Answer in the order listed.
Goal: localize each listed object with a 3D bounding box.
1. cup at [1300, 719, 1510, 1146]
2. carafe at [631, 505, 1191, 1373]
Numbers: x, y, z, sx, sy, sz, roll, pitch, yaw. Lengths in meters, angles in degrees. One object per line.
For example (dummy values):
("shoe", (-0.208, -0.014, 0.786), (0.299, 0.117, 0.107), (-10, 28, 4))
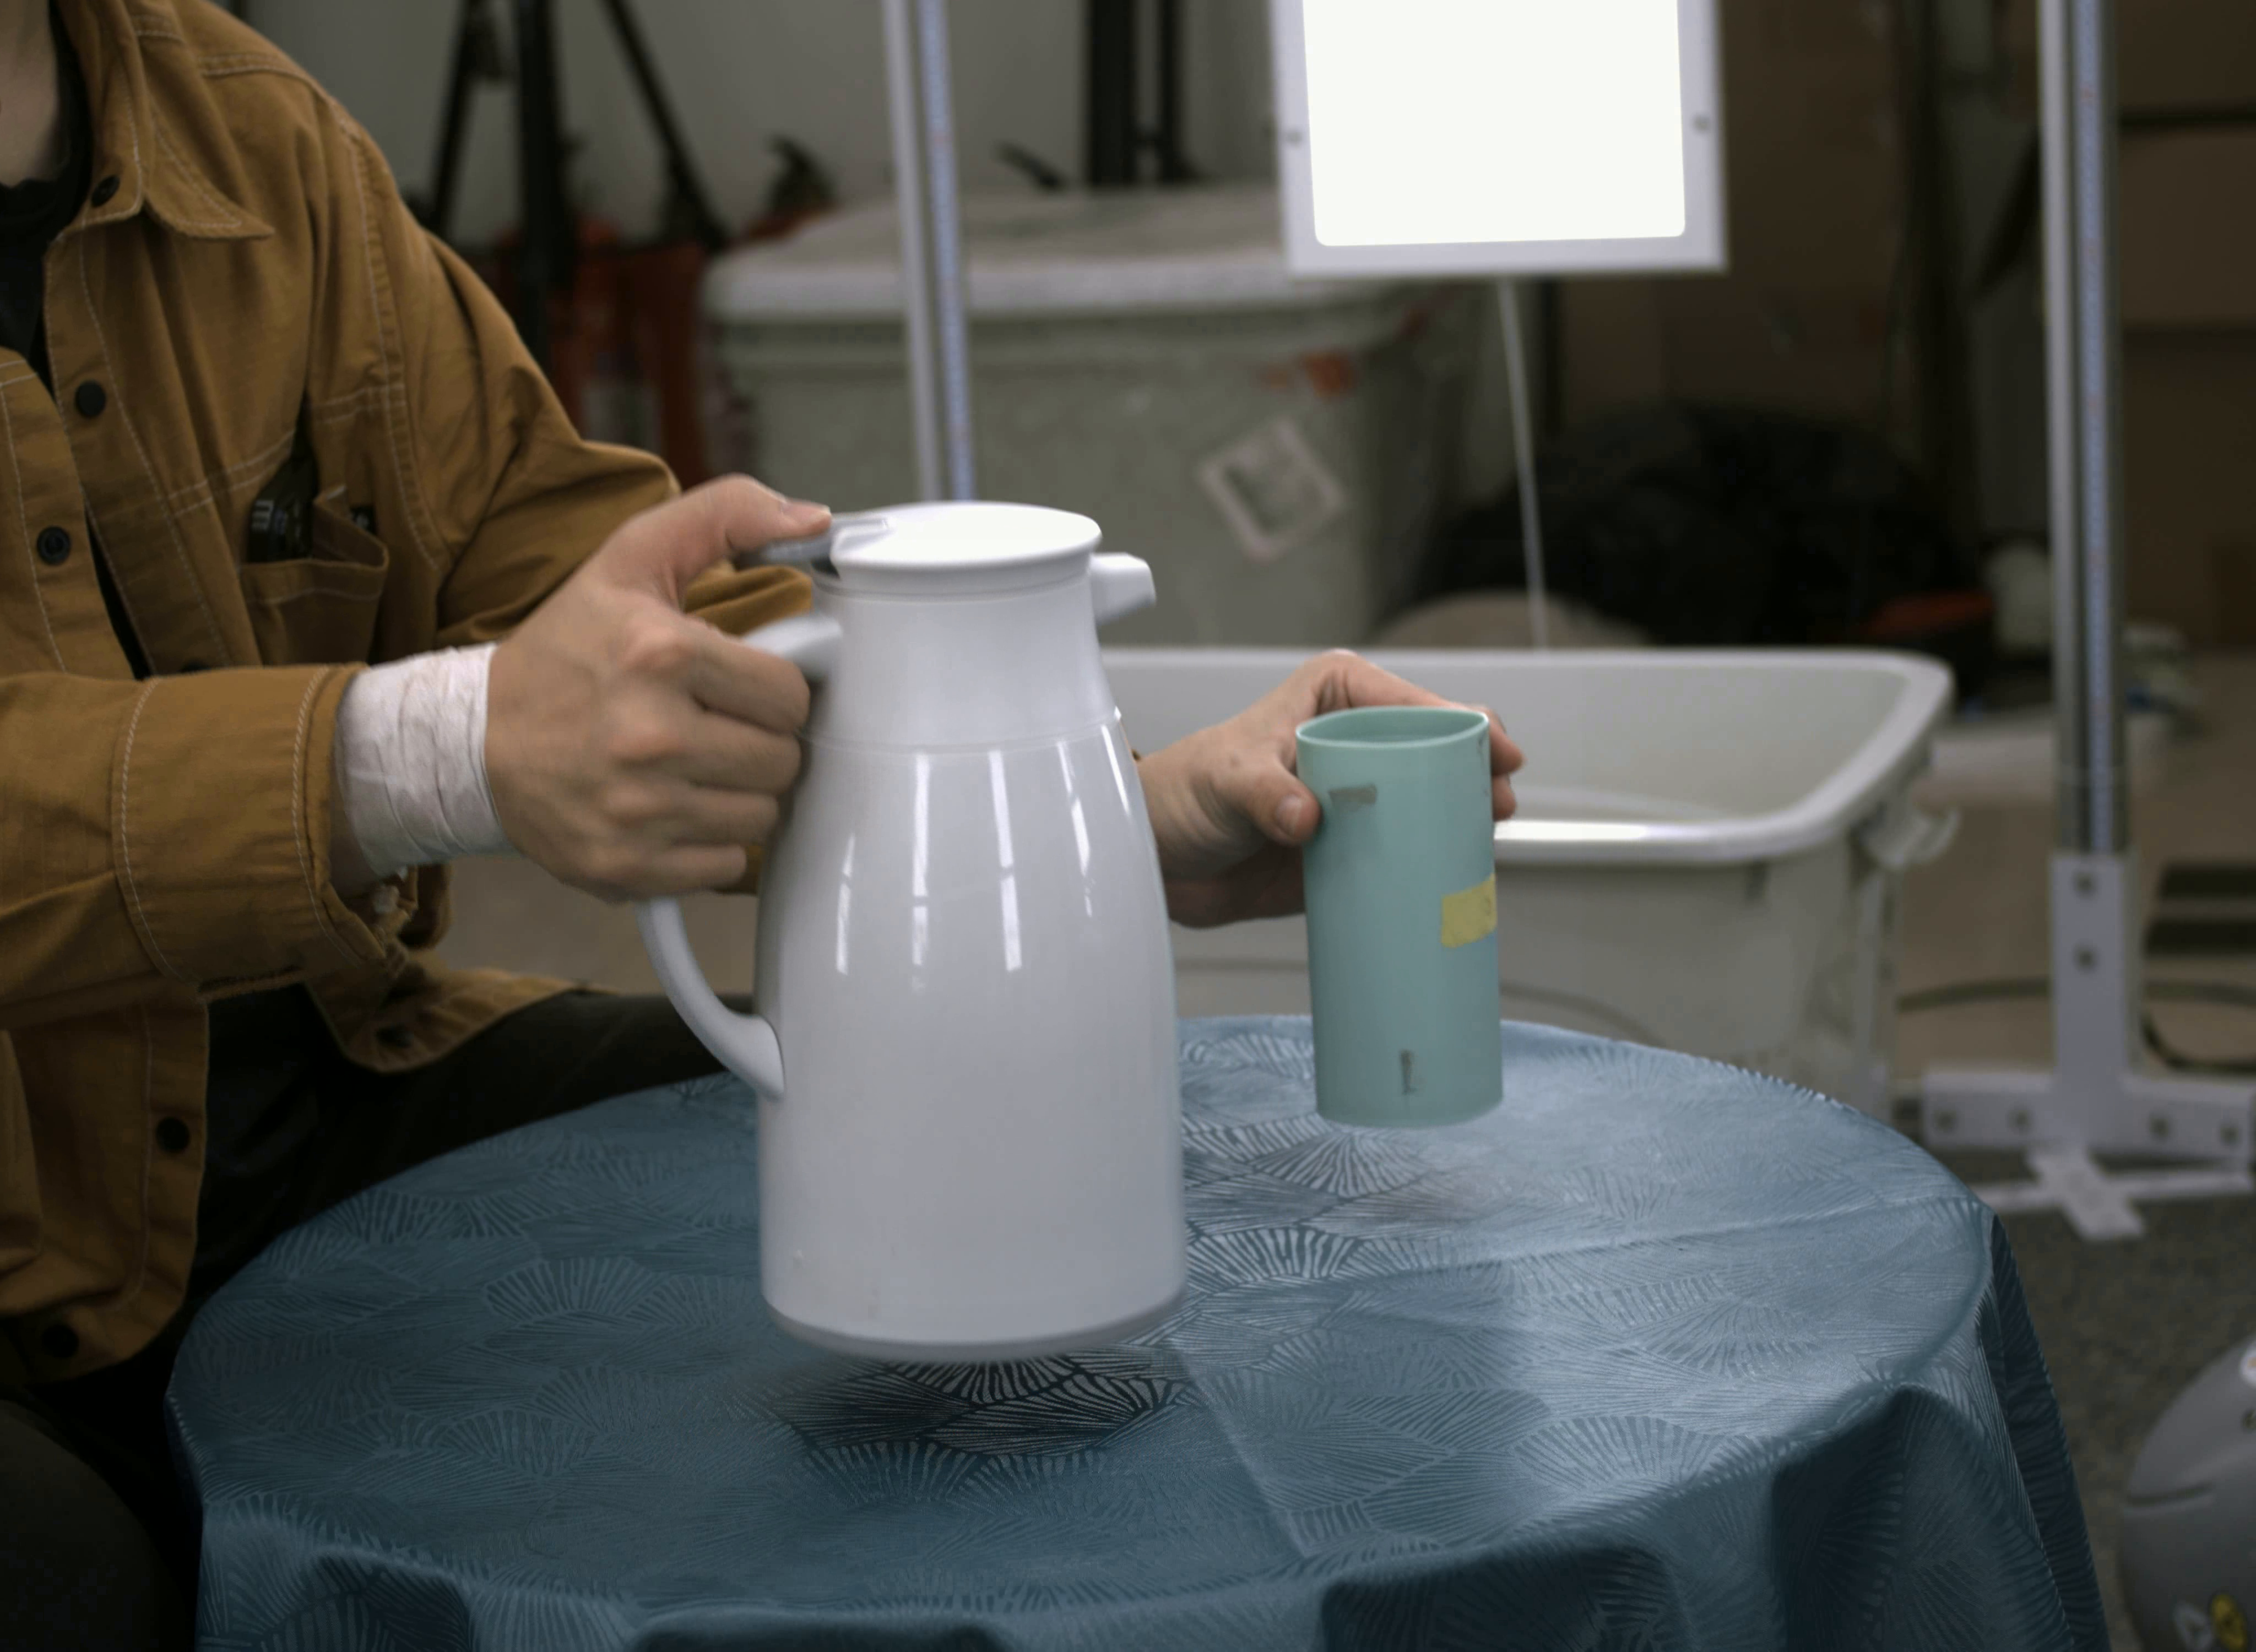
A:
("cup", (0.092, 0.034, 1.830), (0.066, 0.133, 0.066), (-3, 12, -1))
("carafe", (-0.067, 0.030, 1.665), (0.164, 0.249, 0.134), (-8, 14, -21))
